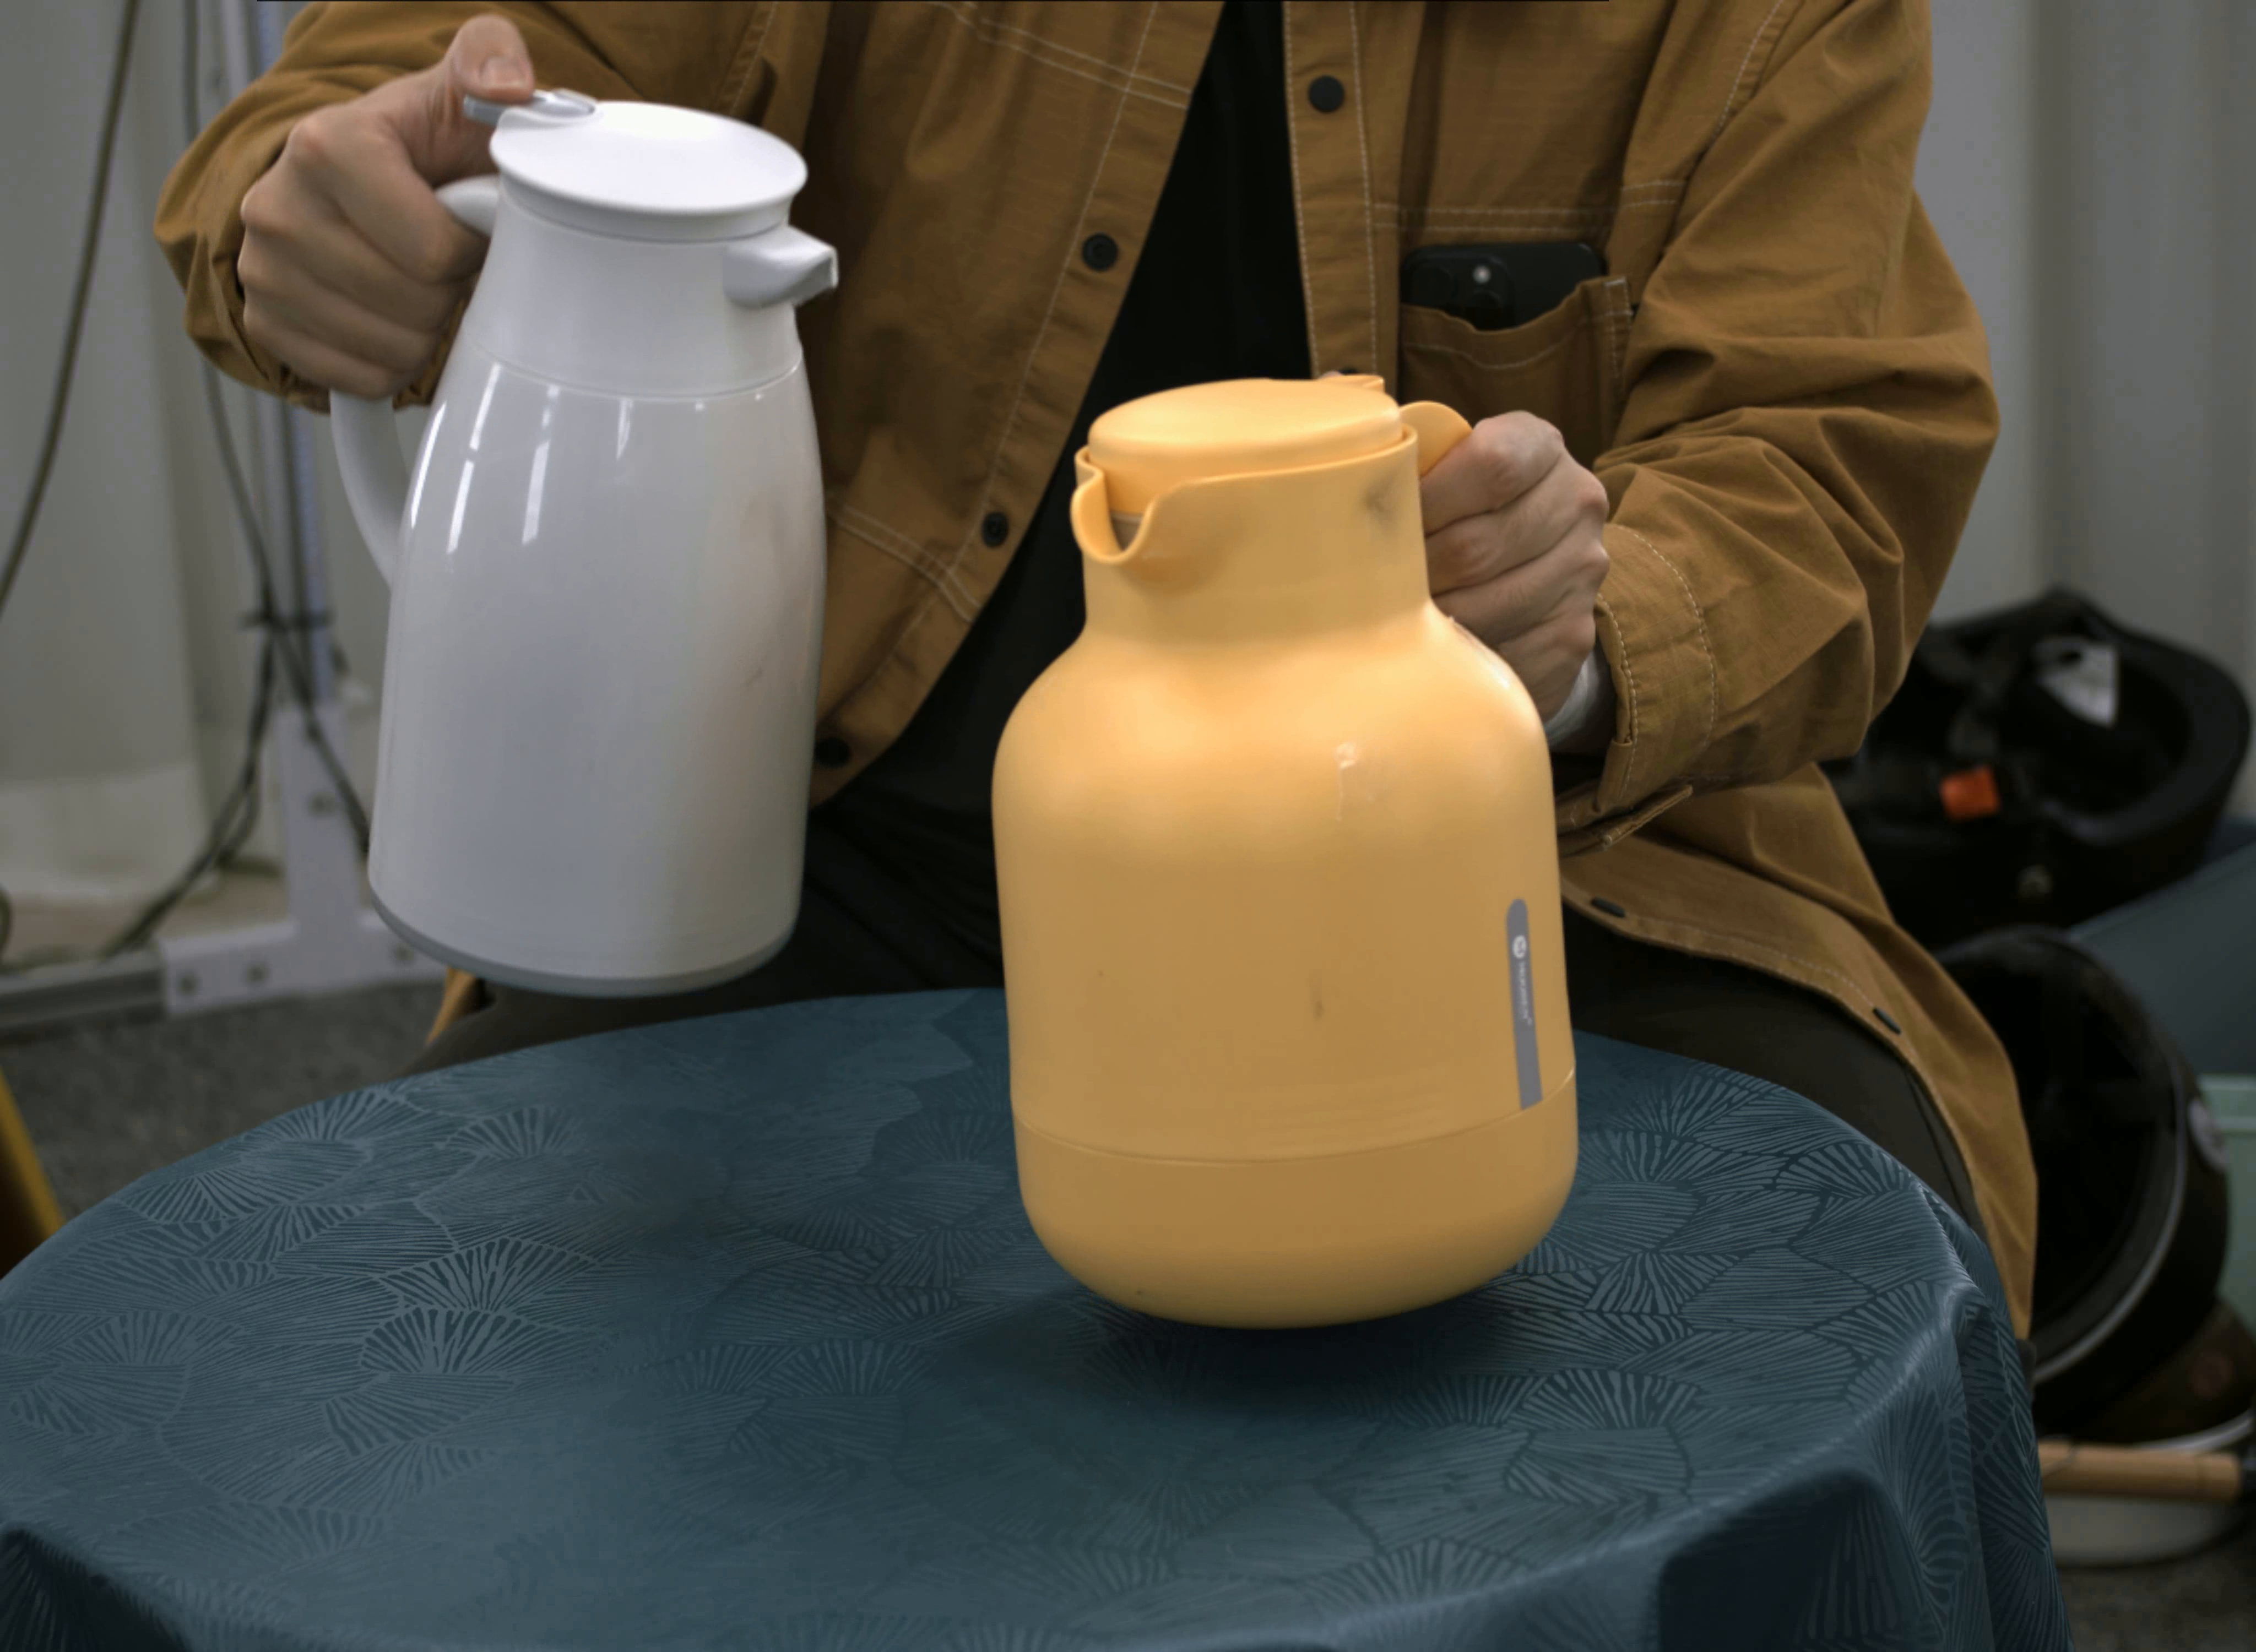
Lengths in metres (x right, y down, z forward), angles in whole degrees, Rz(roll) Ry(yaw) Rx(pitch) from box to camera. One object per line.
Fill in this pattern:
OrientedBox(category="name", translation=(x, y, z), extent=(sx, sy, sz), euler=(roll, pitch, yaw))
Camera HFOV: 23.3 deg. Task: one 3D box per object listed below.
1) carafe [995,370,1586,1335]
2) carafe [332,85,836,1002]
OrientedBox(category="carafe", translation=(0.055, -0.001, 1.573), extent=(0.164, 0.259, 0.202), euler=(6, 18, 35))
OrientedBox(category="carafe", translation=(-0.168, -0.092, 1.631), extent=(0.168, 0.247, 0.133), euler=(19, 25, 27))
